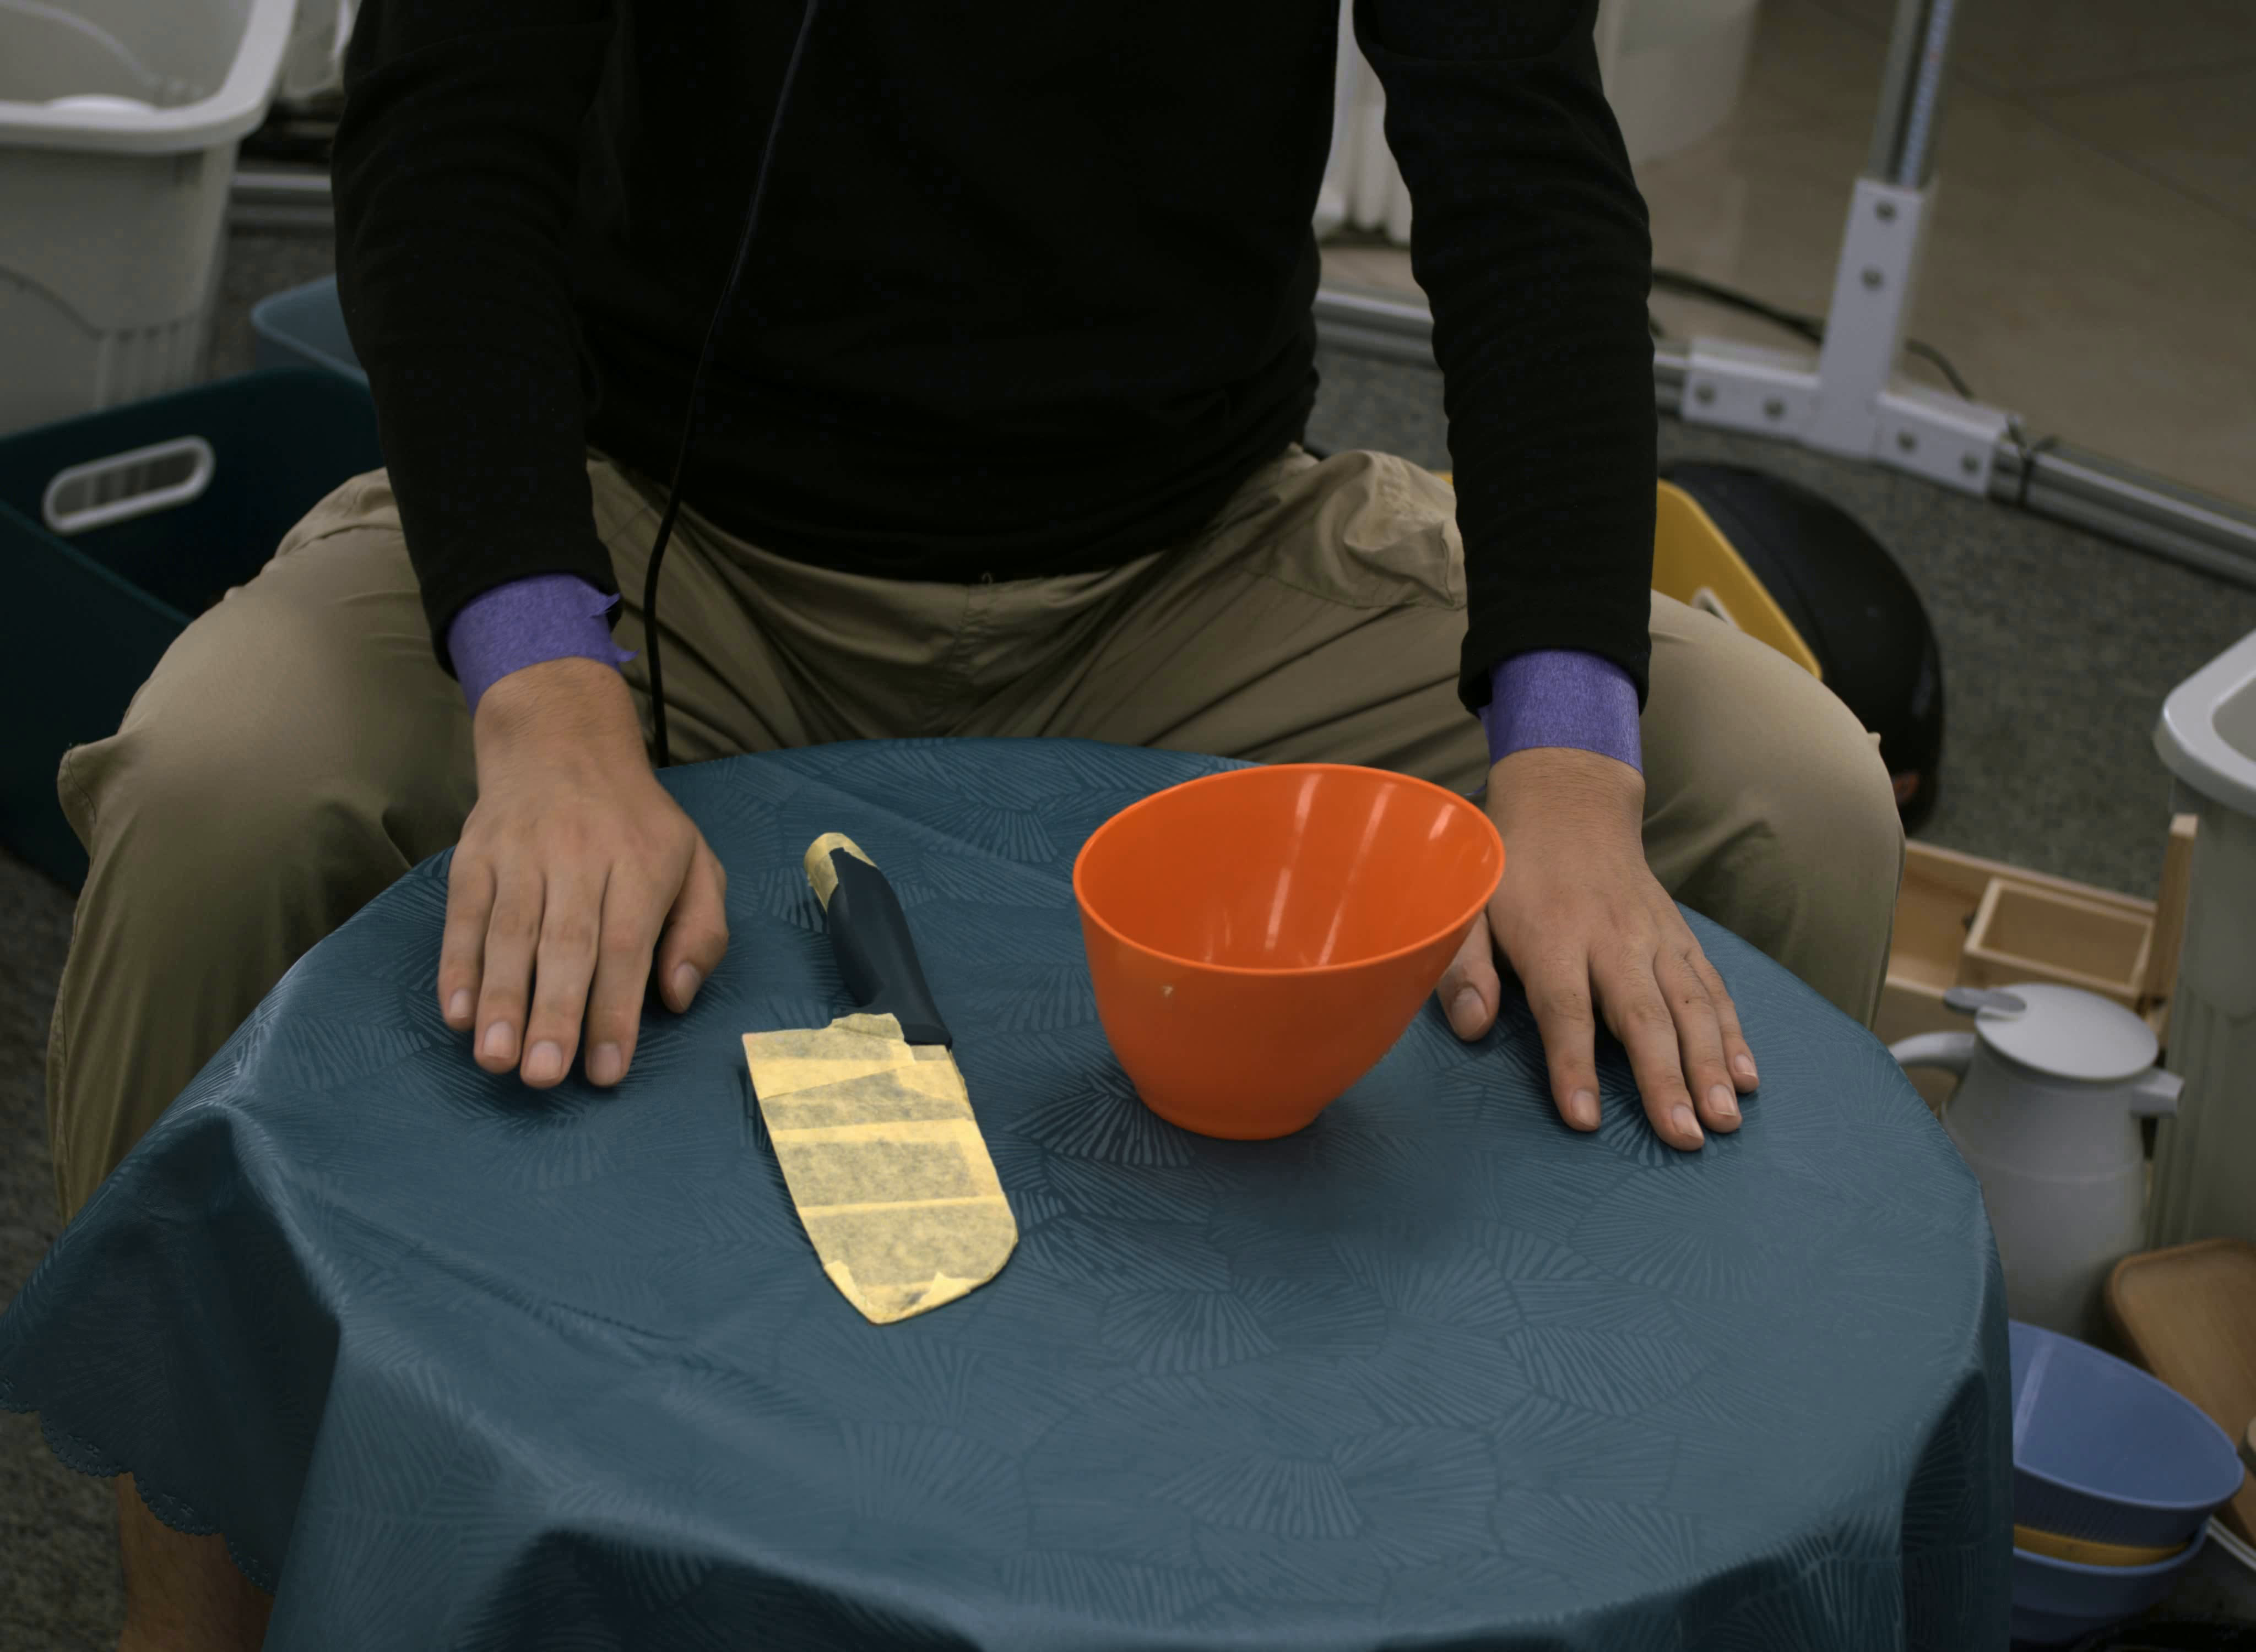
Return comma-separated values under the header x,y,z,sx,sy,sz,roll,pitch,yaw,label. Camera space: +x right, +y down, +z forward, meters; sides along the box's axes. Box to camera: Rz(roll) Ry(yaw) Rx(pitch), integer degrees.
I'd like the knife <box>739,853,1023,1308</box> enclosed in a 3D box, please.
x,y,z,sx,sy,sz,roll,pitch,yaw,label
-0.093,0.086,1.843,0.080,0.027,0.292,2,28,-14,knife

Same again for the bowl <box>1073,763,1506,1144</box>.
x,y,z,sx,sy,sz,roll,pitch,yaw,label
0.051,0.050,1.849,0.147,0.104,0.149,5,28,-3,bowl
